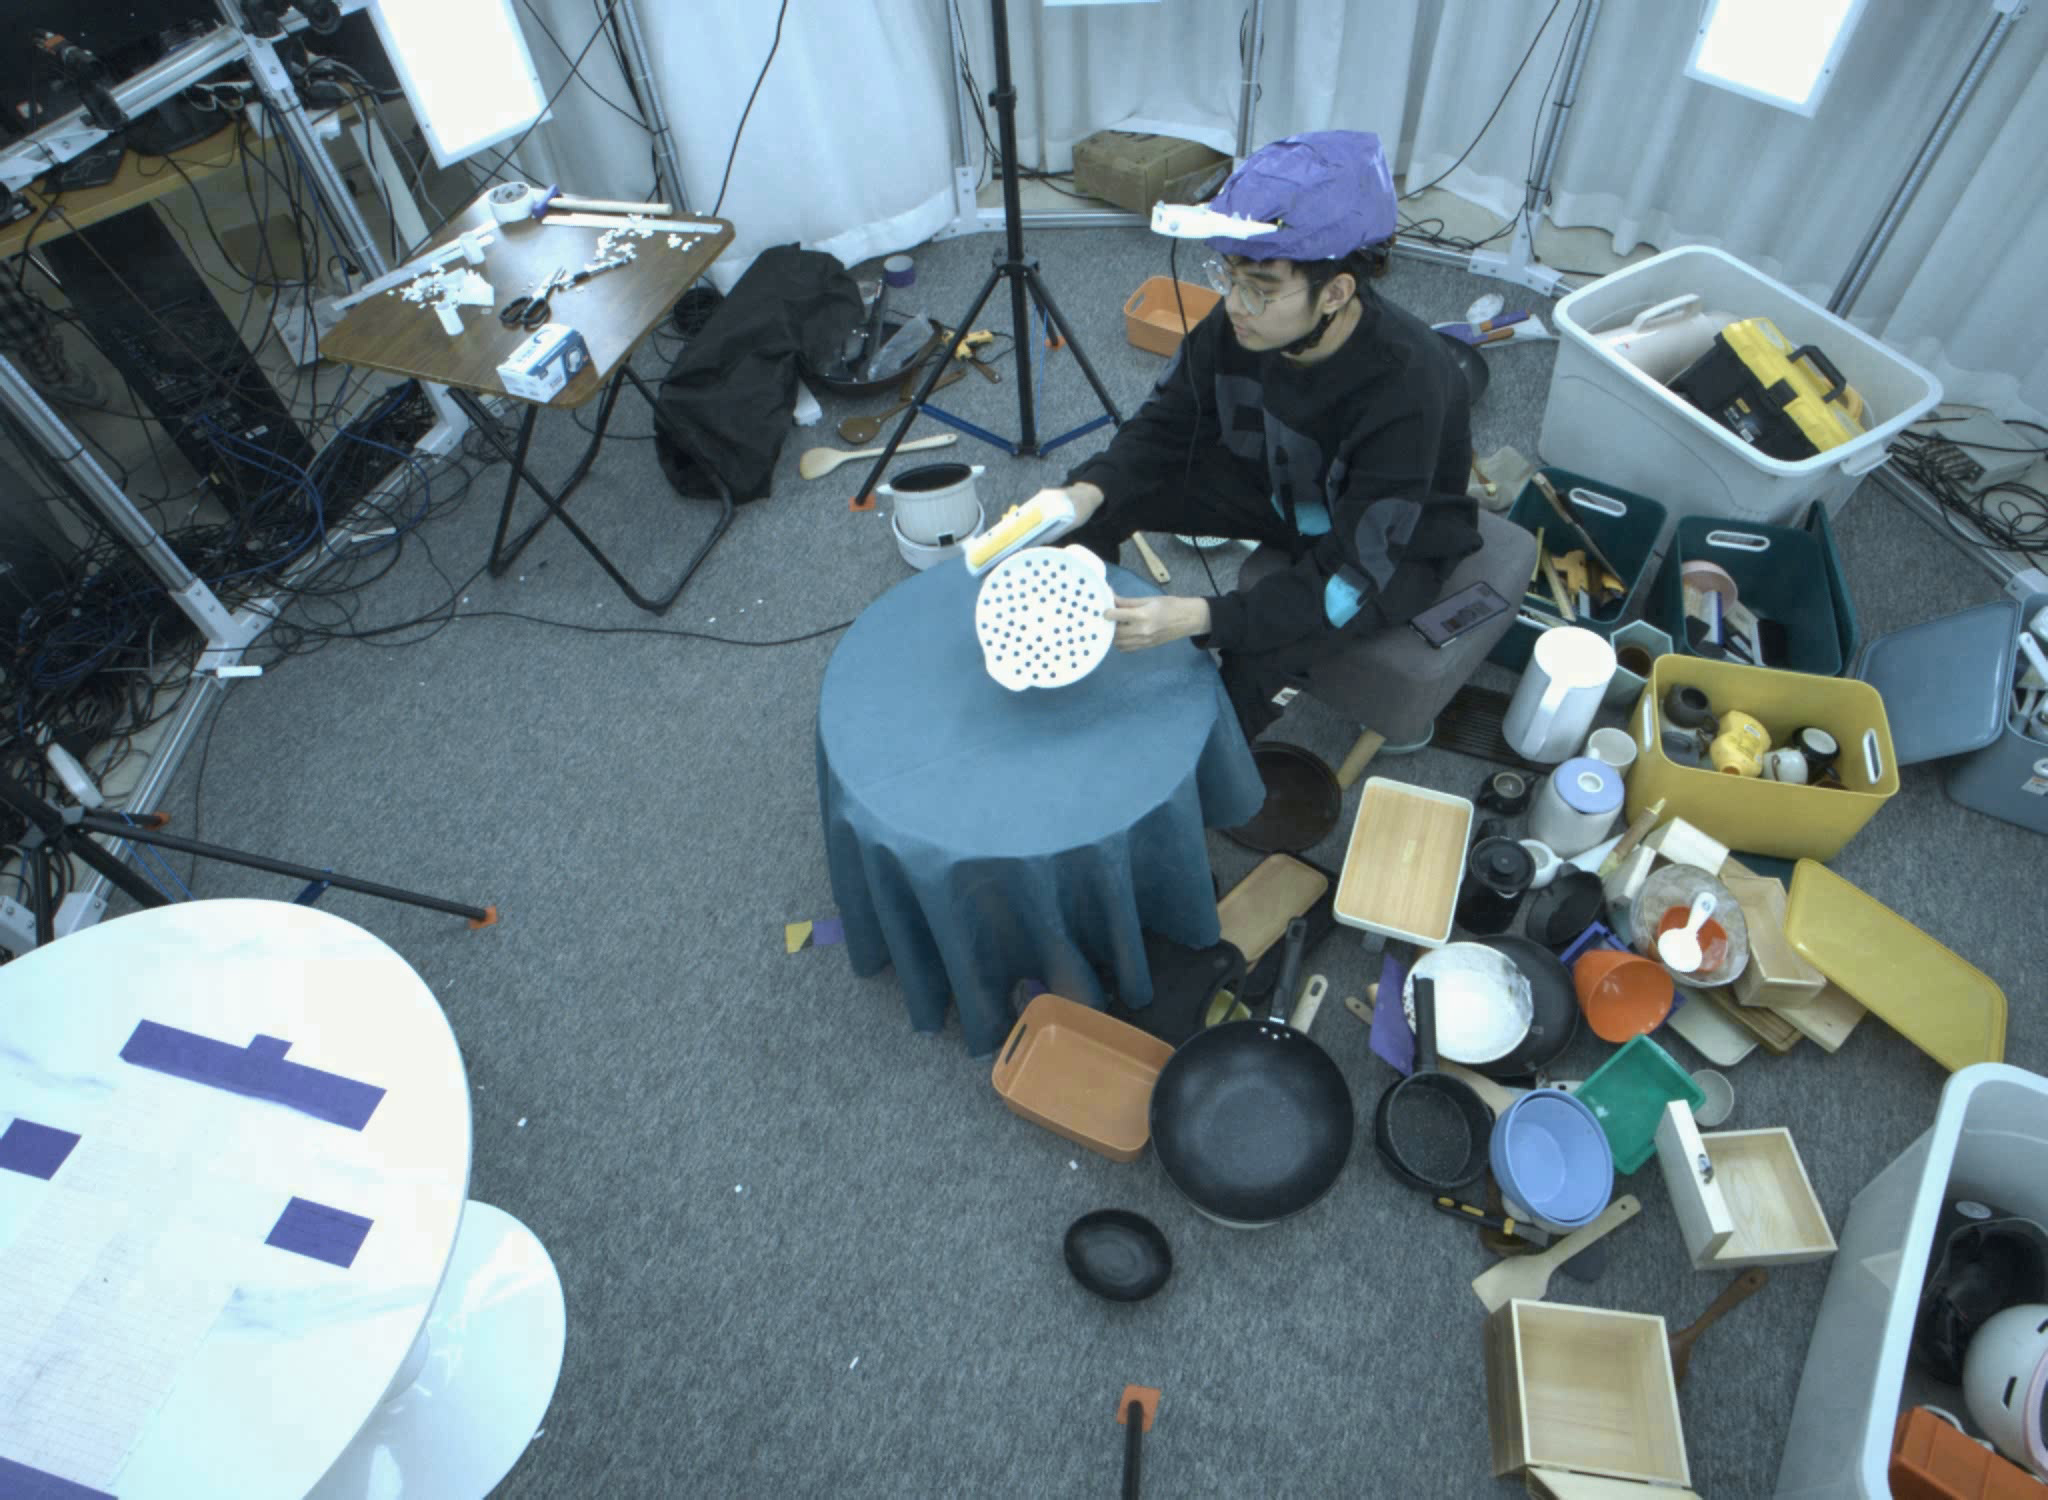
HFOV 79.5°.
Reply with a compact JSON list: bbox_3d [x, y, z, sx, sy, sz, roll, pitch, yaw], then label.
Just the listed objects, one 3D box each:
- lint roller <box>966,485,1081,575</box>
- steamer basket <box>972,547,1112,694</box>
[{"bbox_3d":[0.020,-0.336,1.846,0.074,0.191,0.195,59,29,6],"label":"lint roller"},{"bbox_3d":[0.023,-0.186,1.776,0.204,0.068,0.230,35,85,-12],"label":"steamer basket"}]
